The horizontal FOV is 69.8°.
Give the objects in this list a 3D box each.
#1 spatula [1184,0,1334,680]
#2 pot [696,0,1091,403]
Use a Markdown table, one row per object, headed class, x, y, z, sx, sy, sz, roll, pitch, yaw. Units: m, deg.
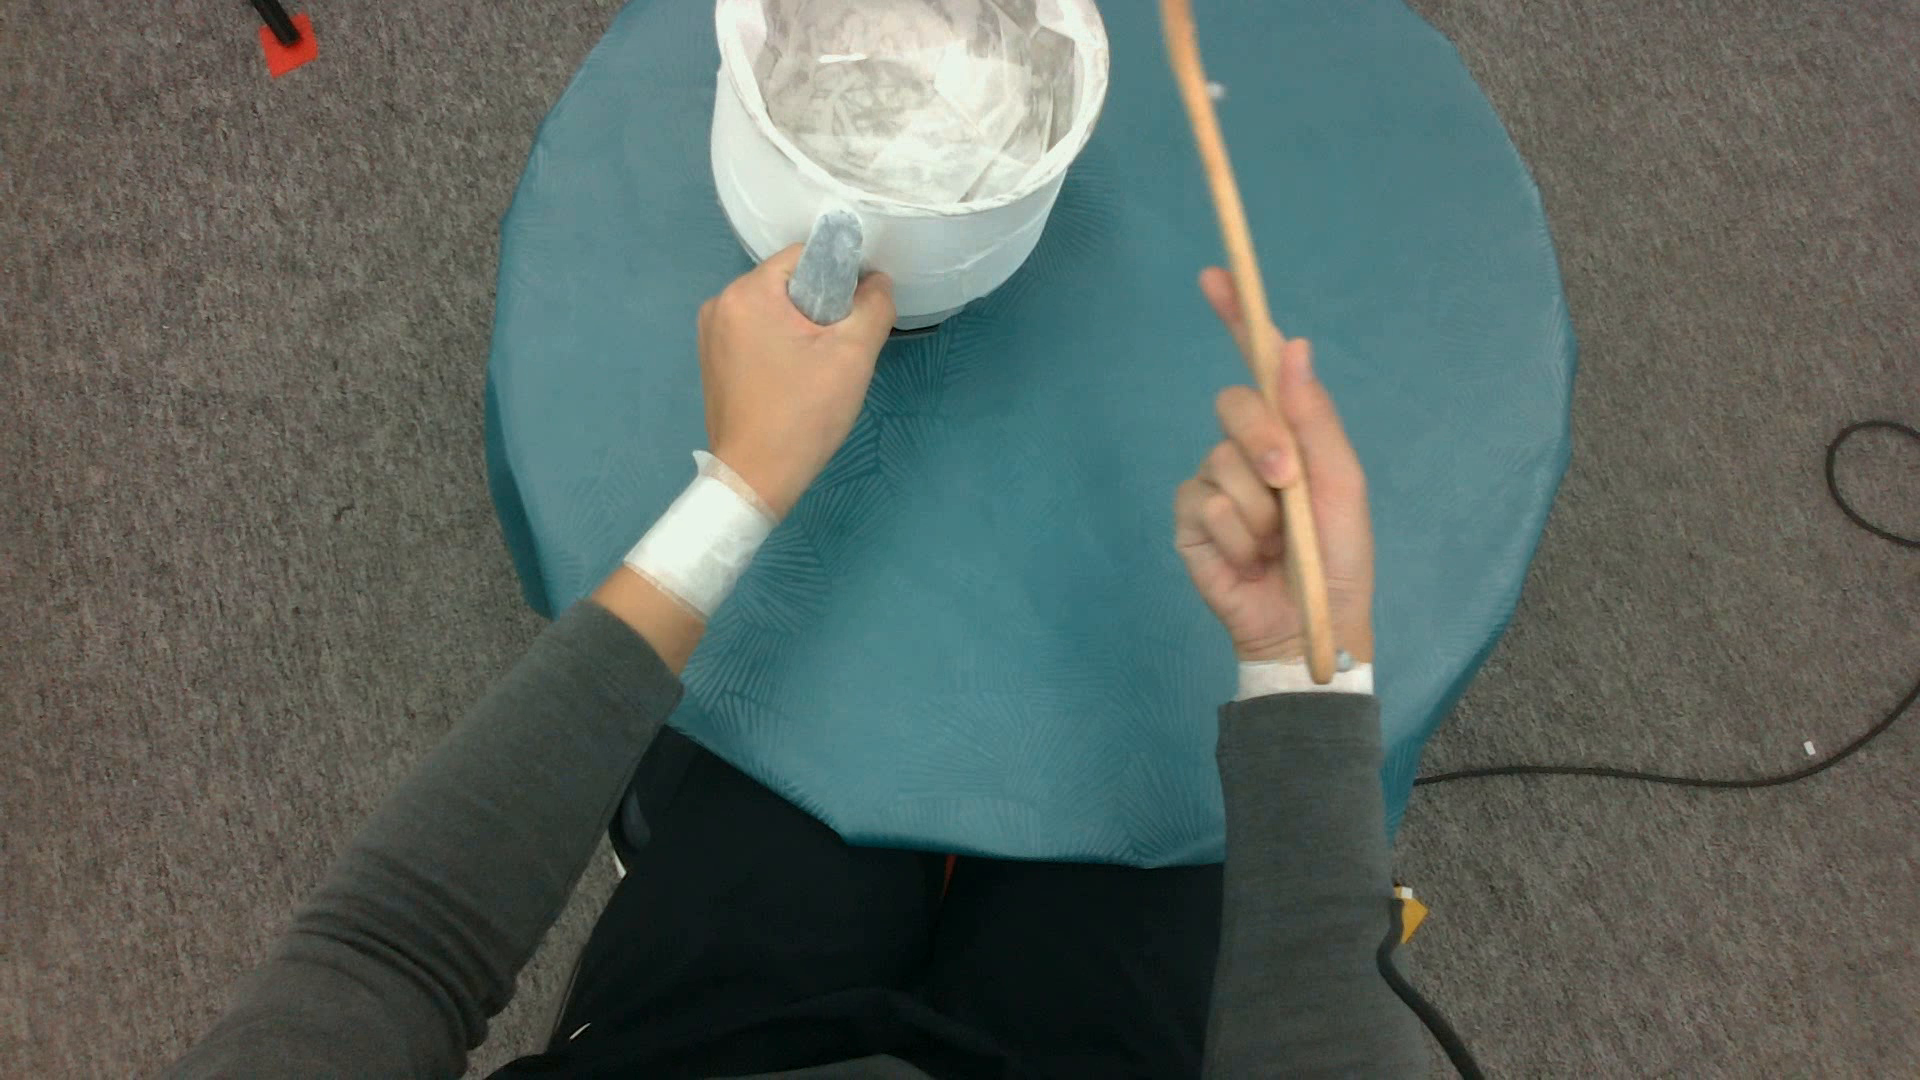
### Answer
| class | x | y | z | sx | sy | sz | roll | pitch | yaw |
| --- | --- | --- | --- | --- | --- | --- | --- | --- | --- |
| spatula | 0.129 | -0.129 | 0.613 | 0.018 | 0.095 | 0.391 | -8 | 72 | 4 |
| pot | -0.047 | -0.184 | 0.666 | 0.179 | 0.136 | 0.234 | 19 | 69 | -6 |
